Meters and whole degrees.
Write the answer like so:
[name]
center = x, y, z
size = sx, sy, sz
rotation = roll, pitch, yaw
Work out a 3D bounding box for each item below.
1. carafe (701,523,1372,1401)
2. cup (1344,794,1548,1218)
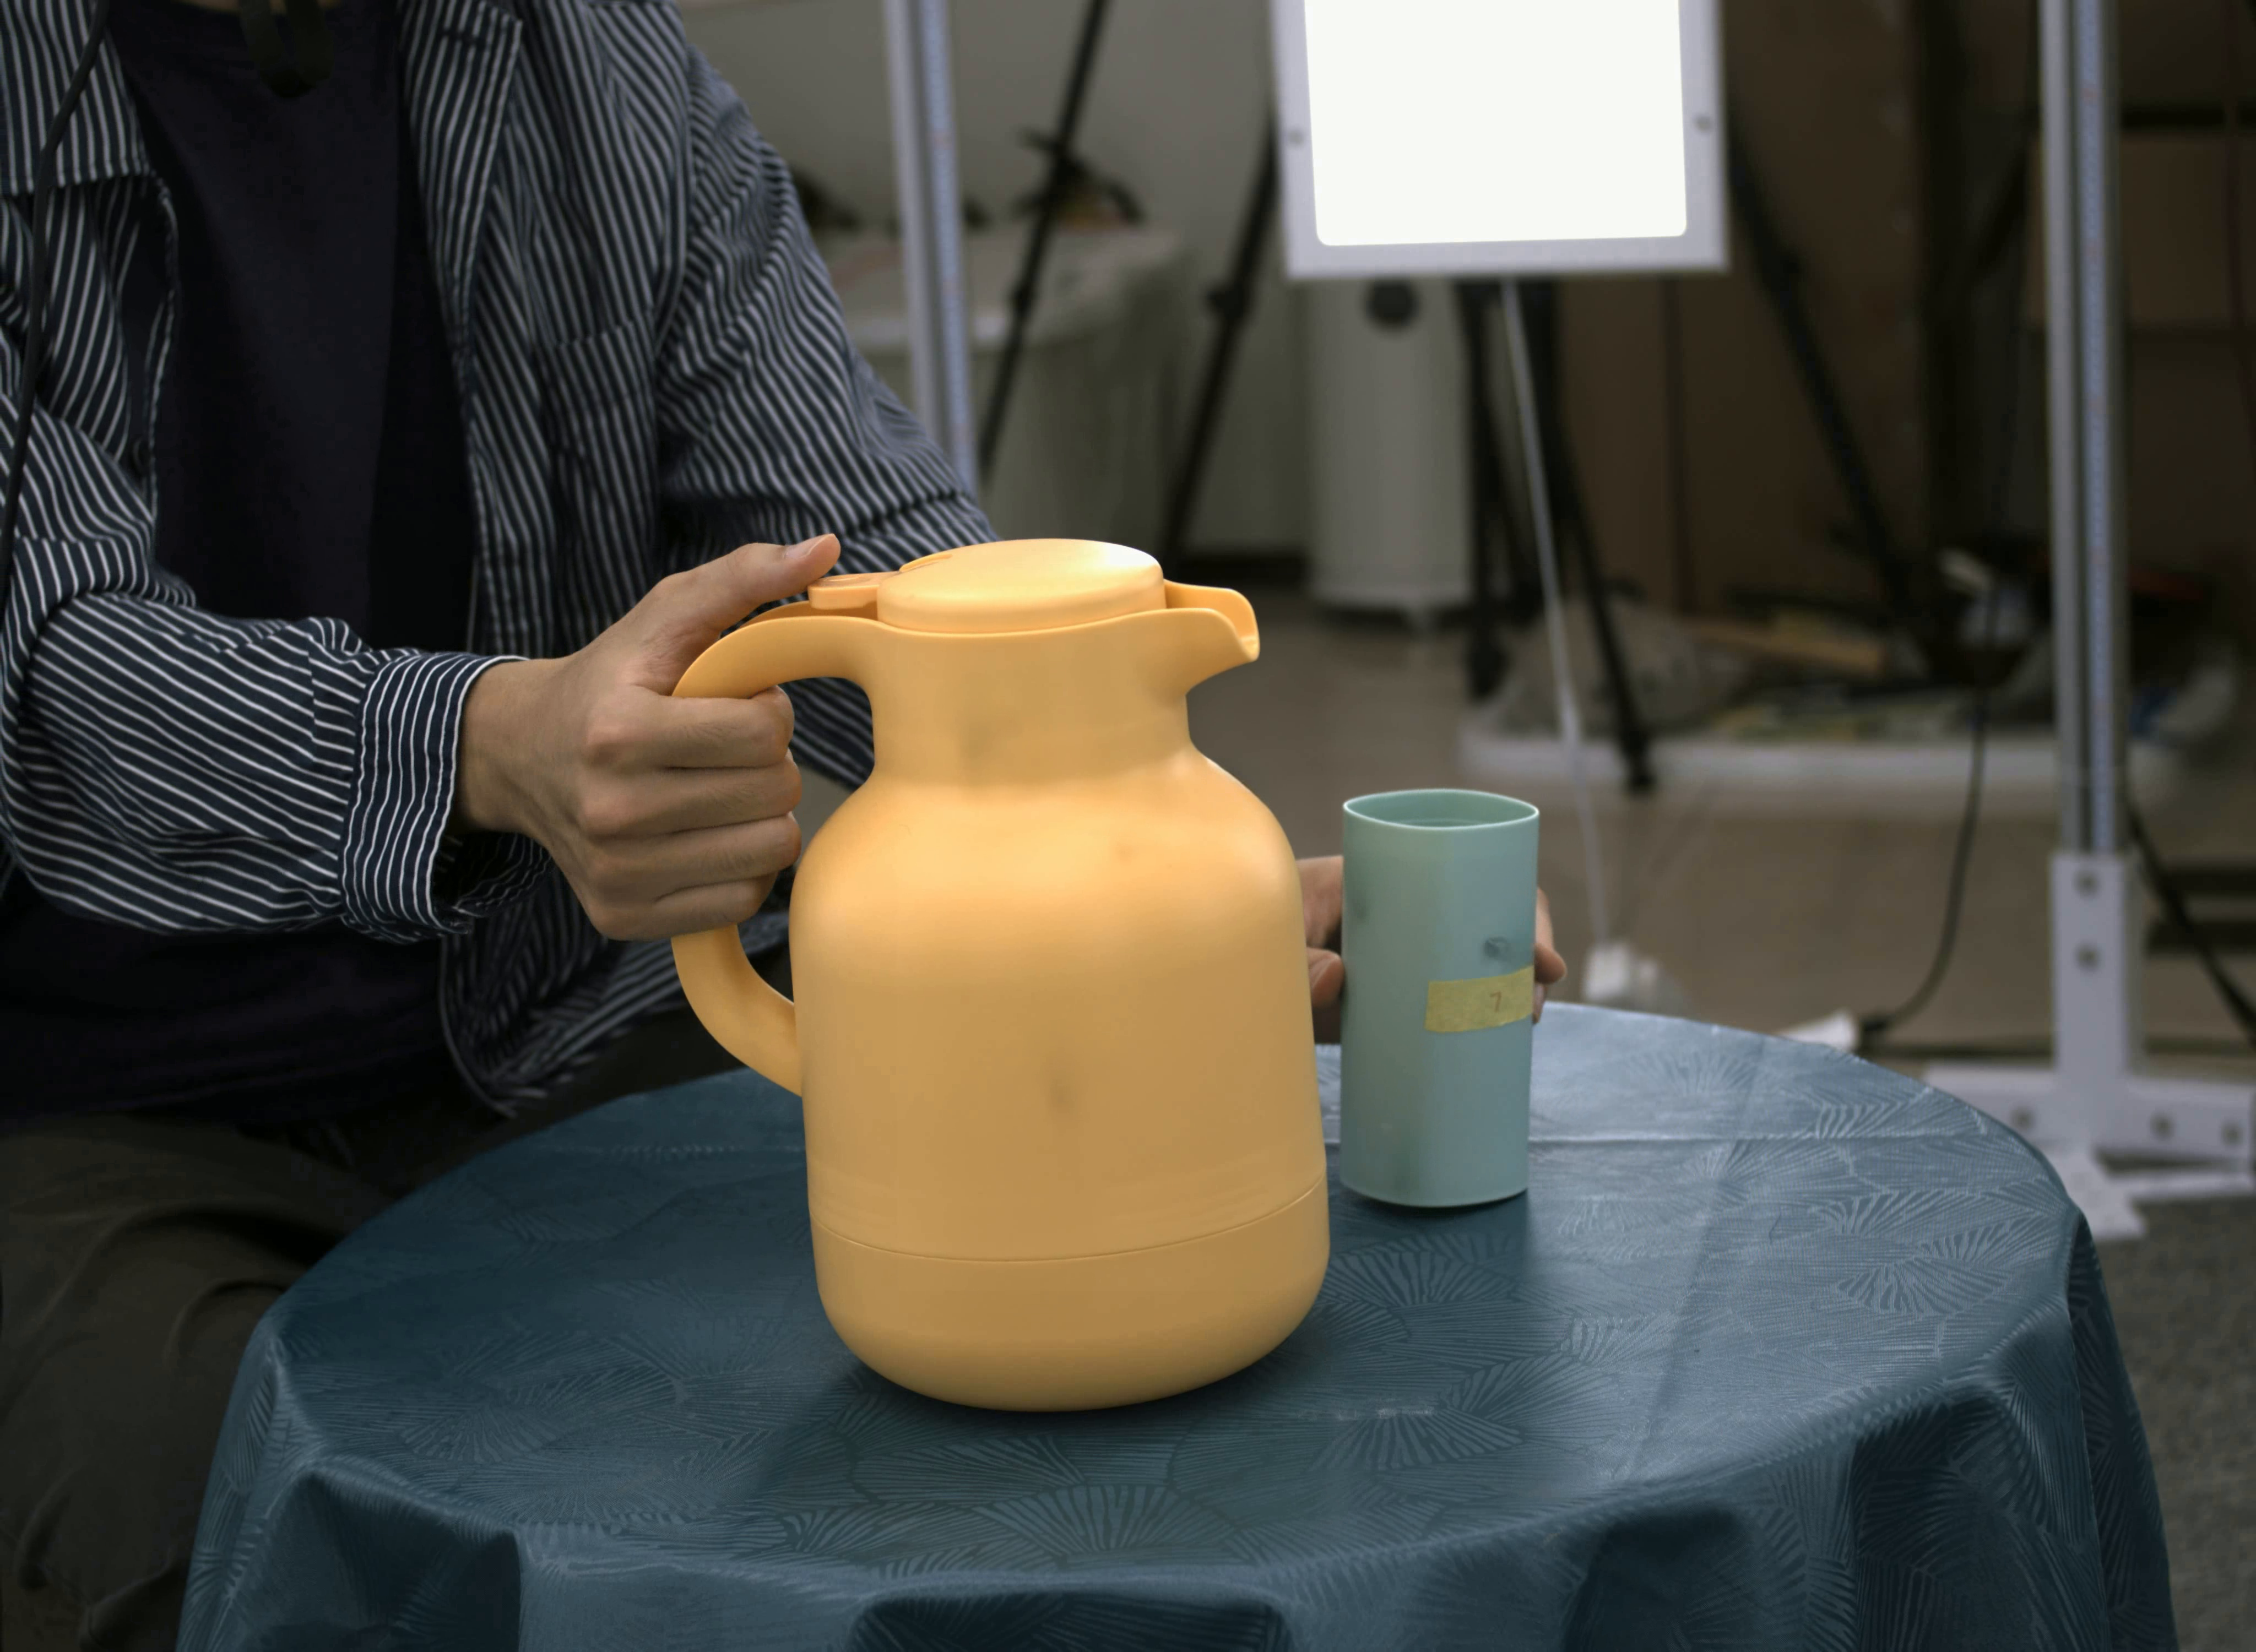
[carafe]
center = -0.029, 0.038, 1.716
size = 0.204, 0.261, 0.161
rotation = -1, 14, 15
[cup]
center = 0.105, 0.059, 1.850
size = 0.066, 0.133, 0.066
rotation = 1, 13, -2
